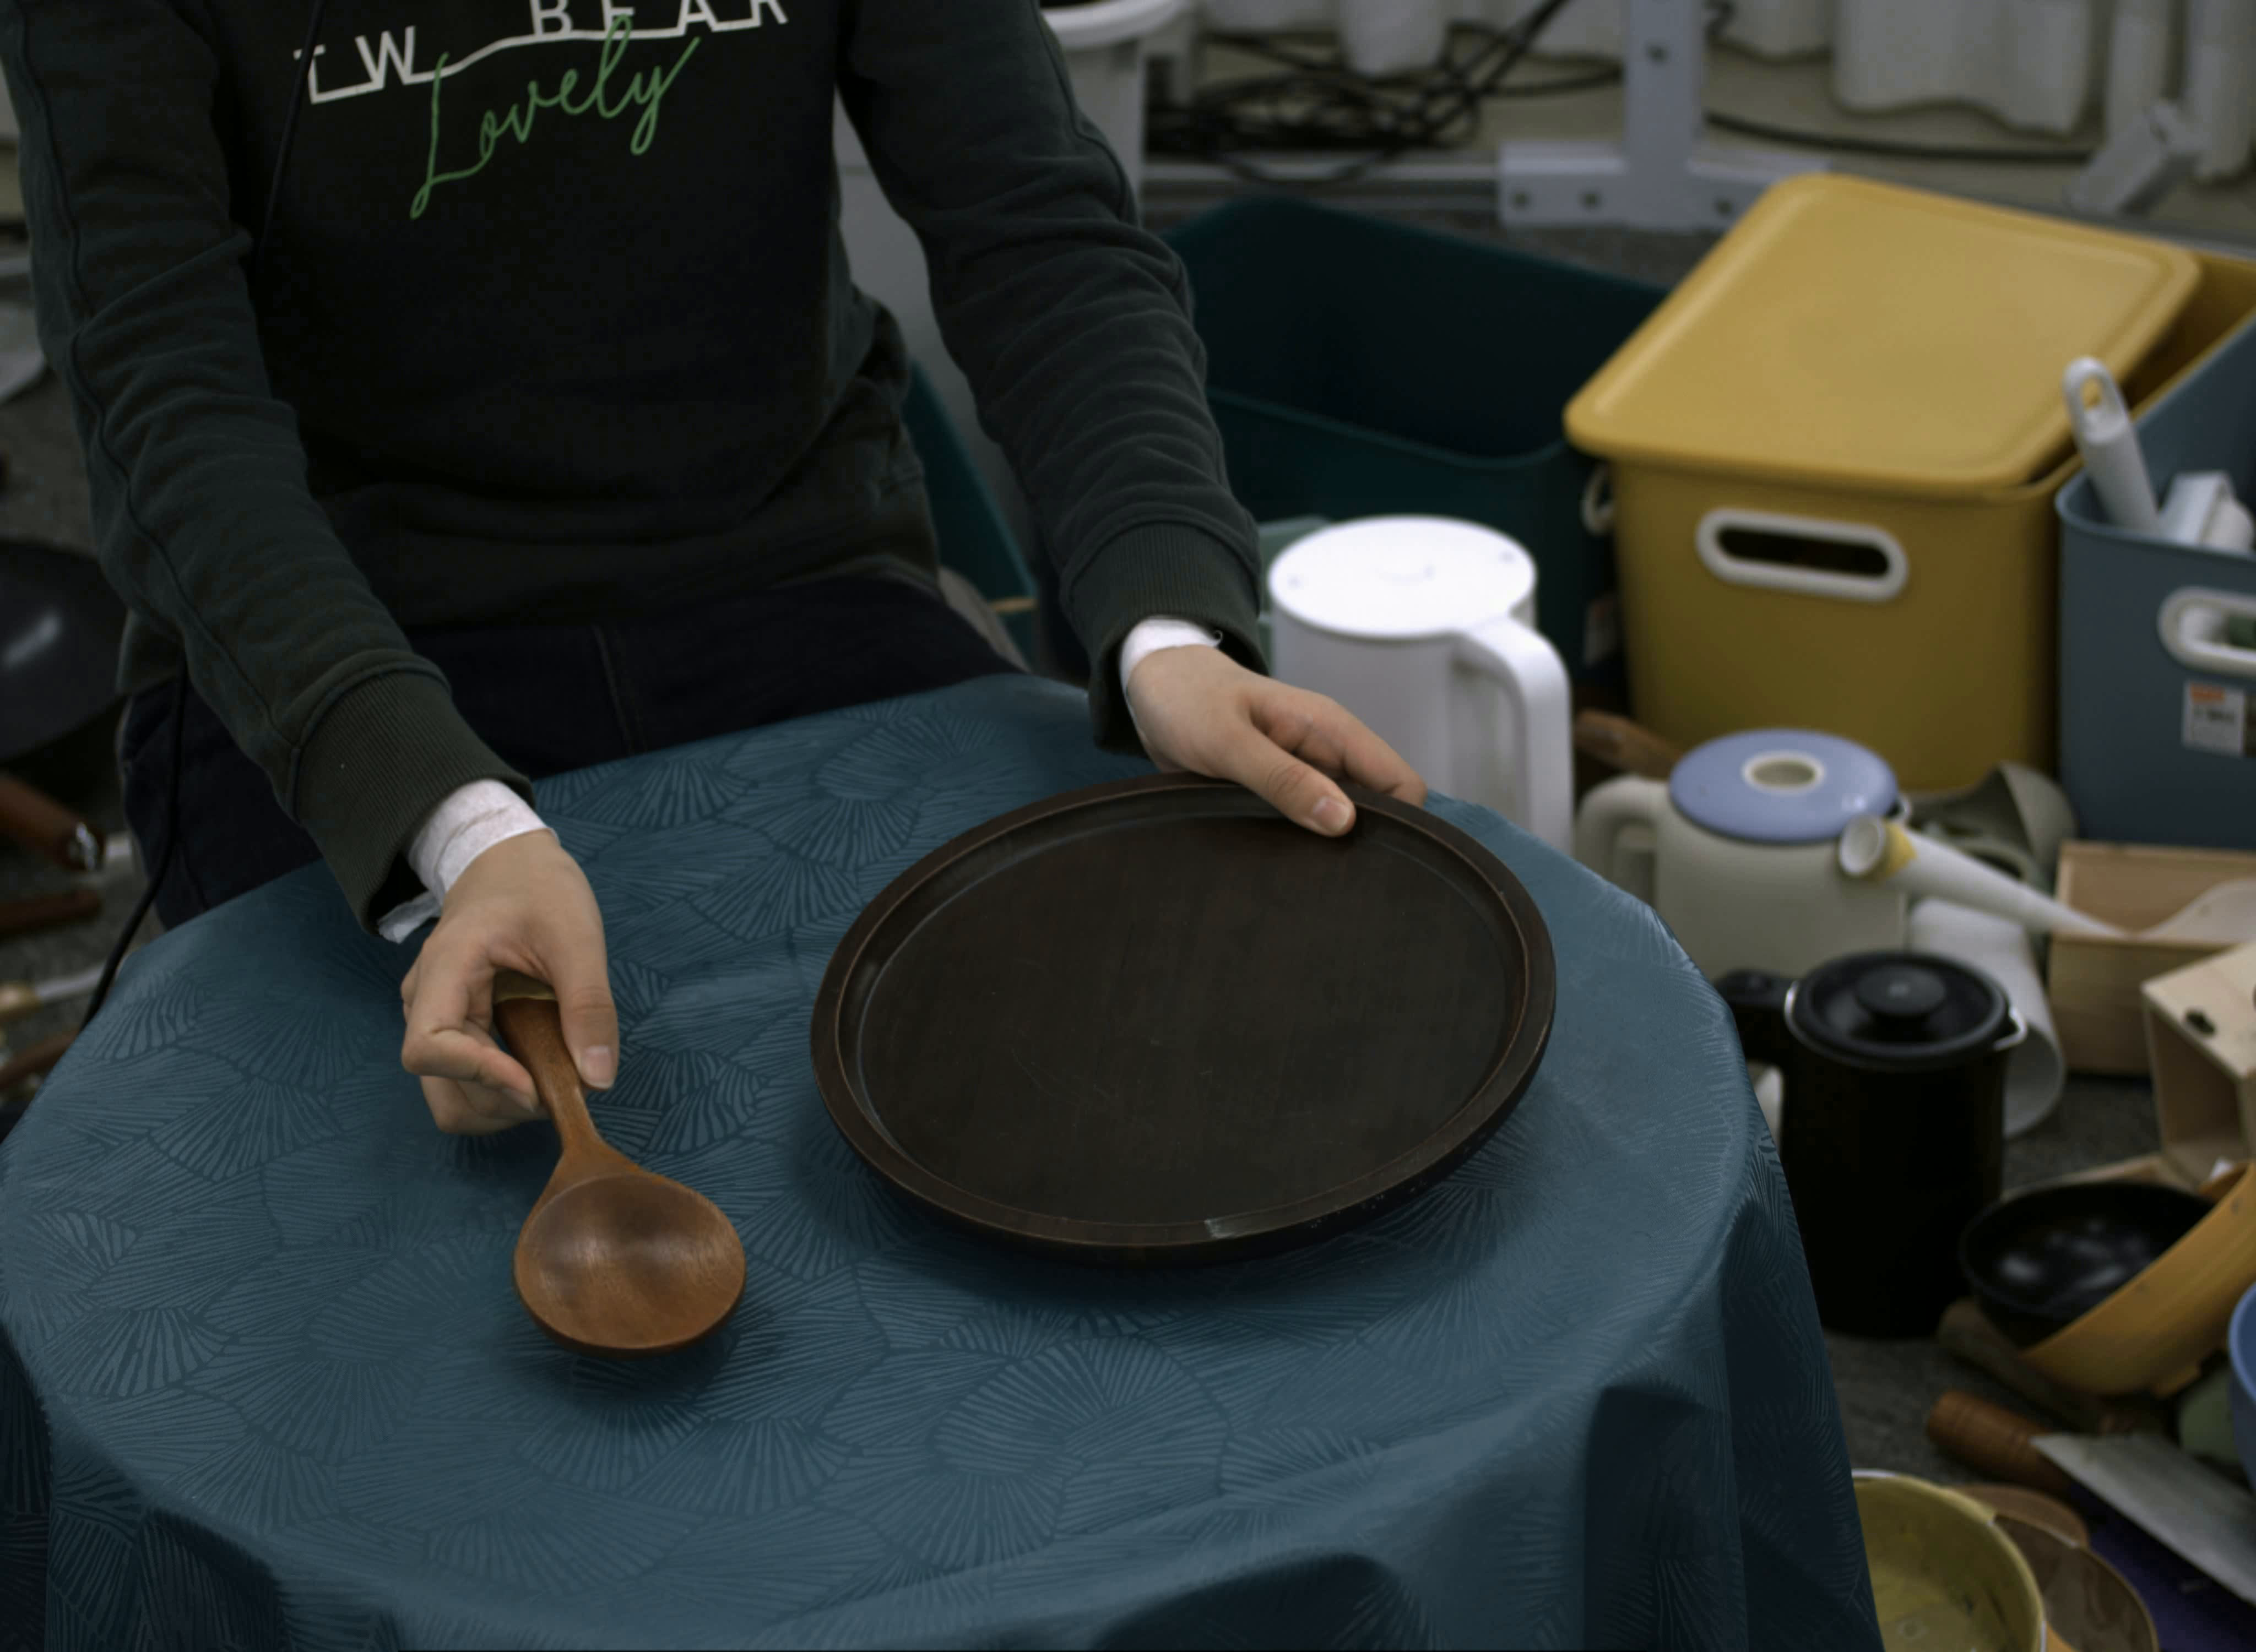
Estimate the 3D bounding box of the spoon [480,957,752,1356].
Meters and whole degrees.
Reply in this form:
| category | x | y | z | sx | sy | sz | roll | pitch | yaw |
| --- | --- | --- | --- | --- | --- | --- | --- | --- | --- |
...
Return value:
| category | x | y | z | sx | sy | sz | roll | pitch | yaw |
| --- | --- | --- | --- | --- | --- | --- | --- | --- | --- |
| spoon | -0.177 | 0.108 | 1.838 | 0.075 | 0.017 | 0.218 | -12 | 36 | -14 |

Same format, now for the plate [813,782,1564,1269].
| category | x | y | z | sx | sy | sz | roll | pitch | yaw |
| --- | --- | --- | --- | --- | --- | --- | --- | --- | --- |
| plate | 0.020 | 0.065 | 1.886 | 0.253 | 0.028 | 0.259 | -3 | 36 | 3 |
